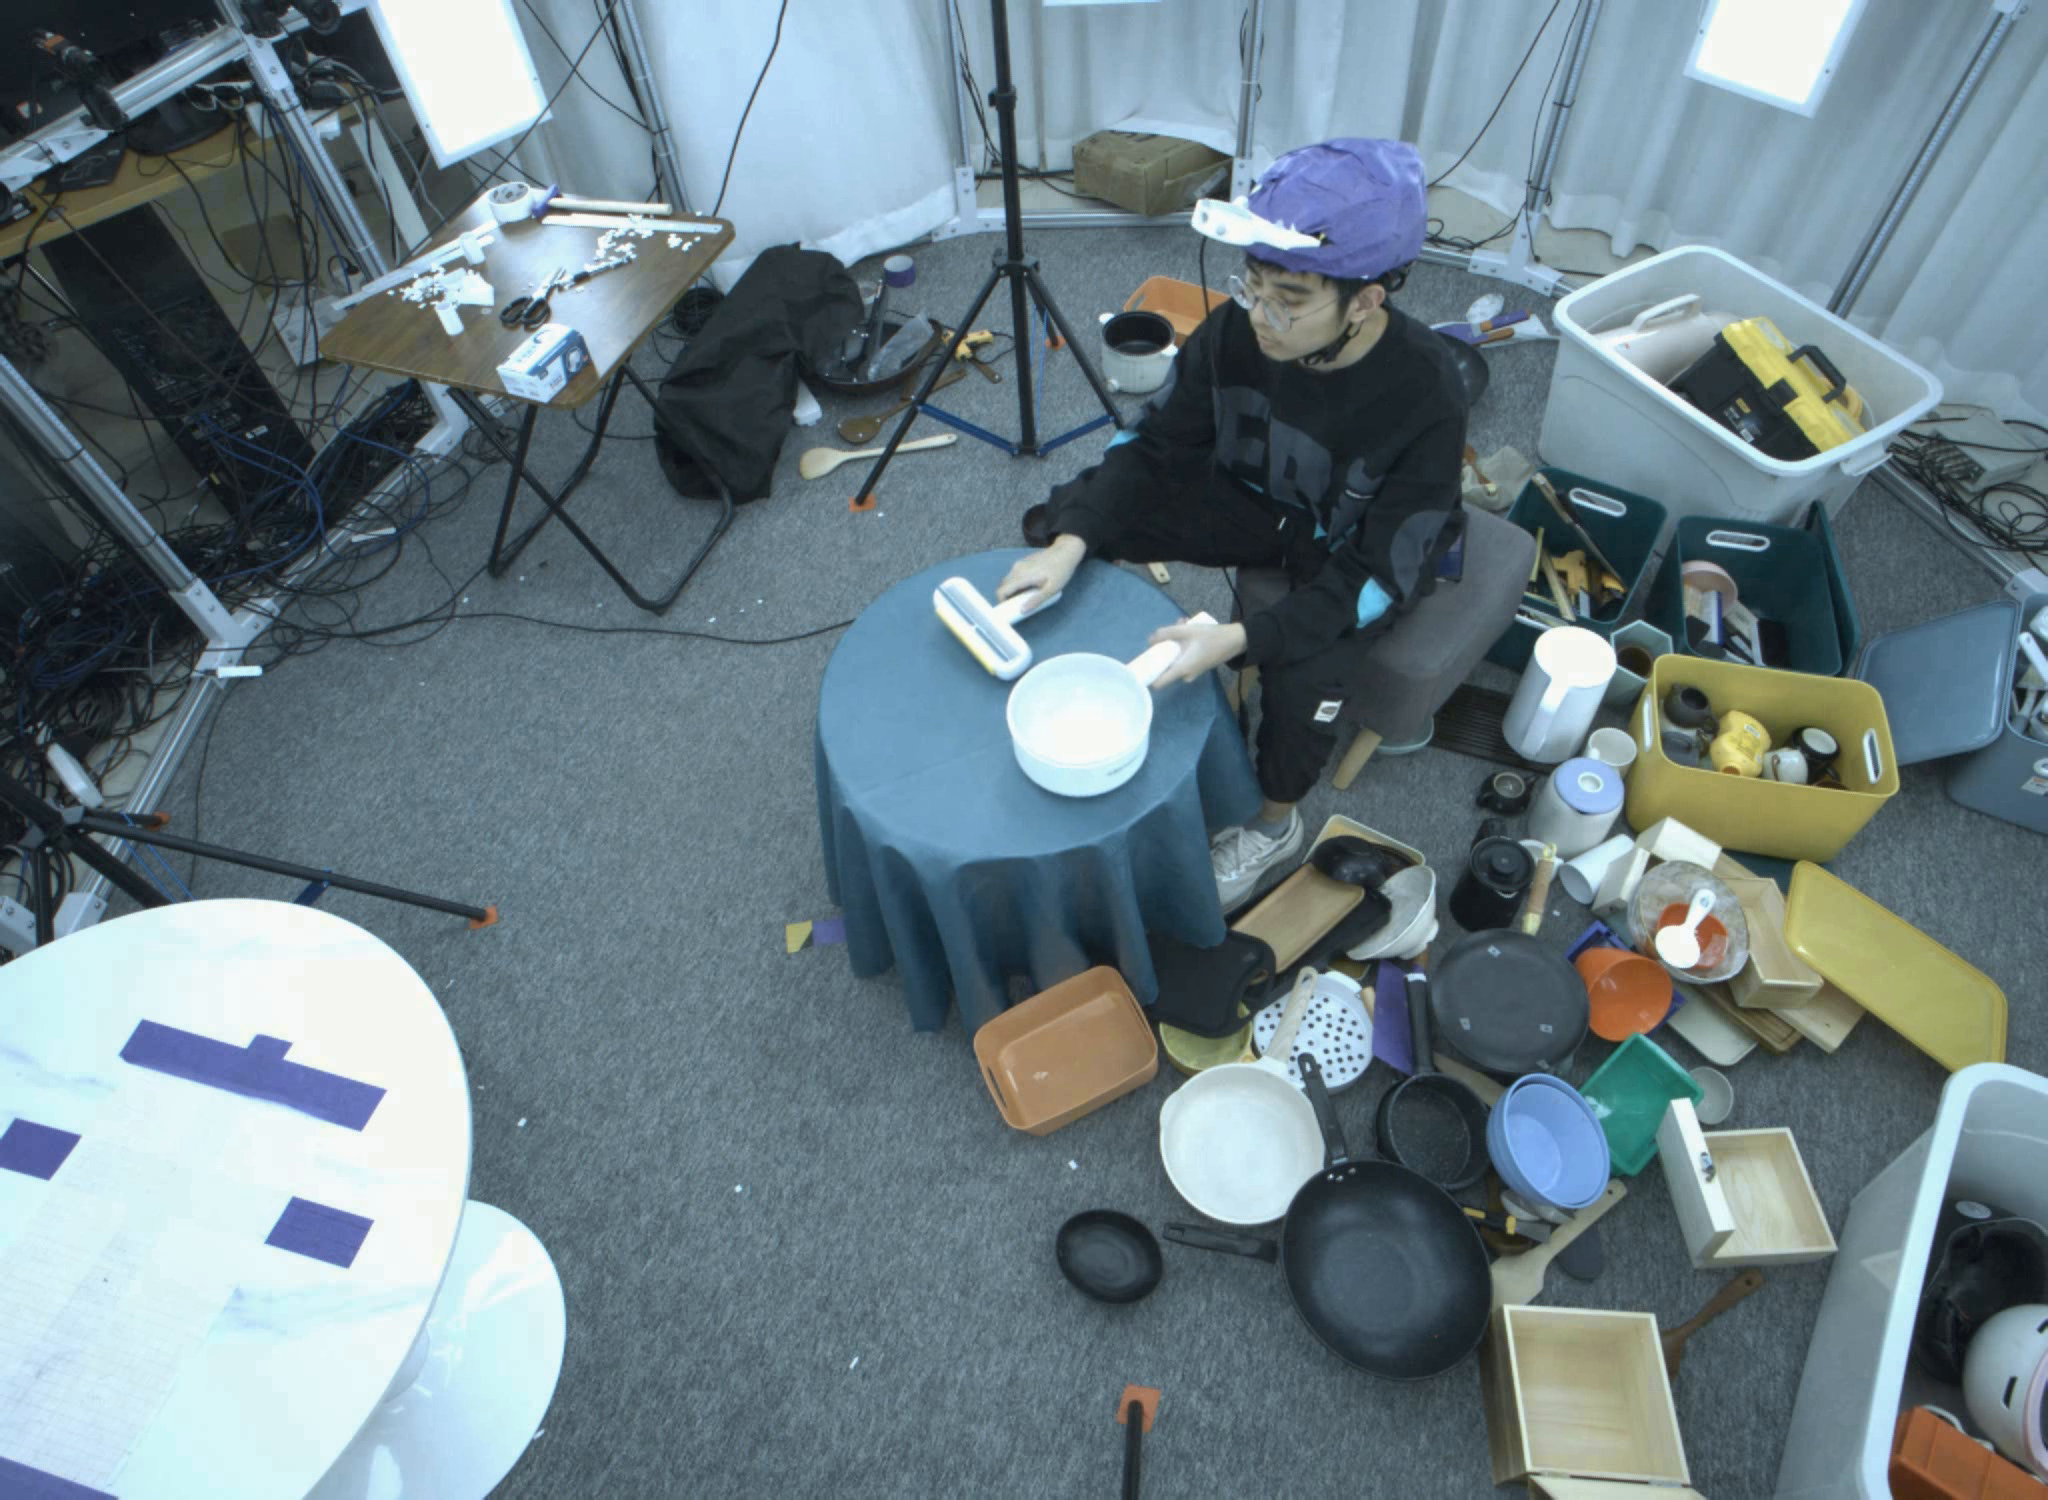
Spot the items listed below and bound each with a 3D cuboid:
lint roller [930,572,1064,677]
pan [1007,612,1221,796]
[{"bbox_3d":[-0.022,-0.217,1.890,0.193,0.075,0.190,-33,65,-15],"label":"lint roller"},{"bbox_3d":[0.138,-0.073,1.766,0.357,0.103,0.197,-35,60,-21],"label":"pan"}]
